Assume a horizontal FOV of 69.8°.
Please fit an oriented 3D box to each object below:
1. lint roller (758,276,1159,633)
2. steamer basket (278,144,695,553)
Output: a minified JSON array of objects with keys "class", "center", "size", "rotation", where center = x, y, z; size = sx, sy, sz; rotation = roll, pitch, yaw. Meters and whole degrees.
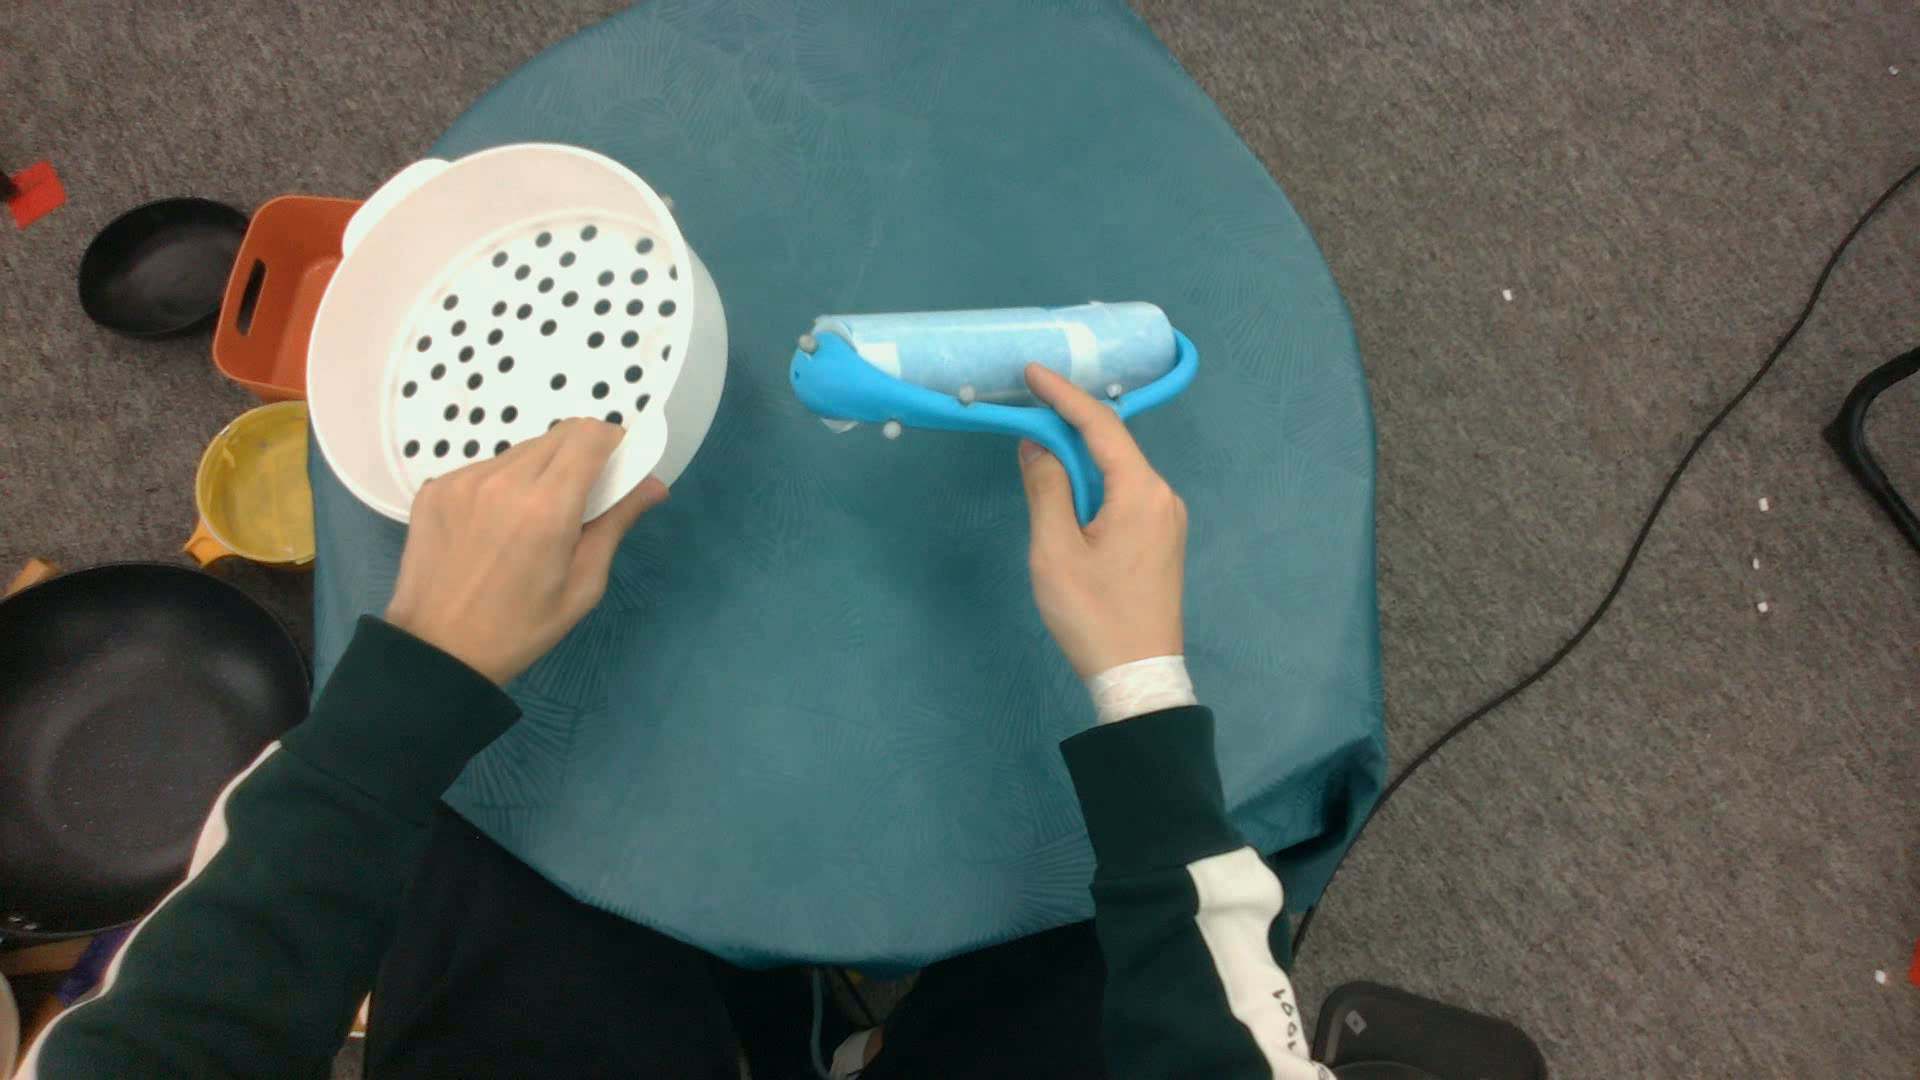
[{"class":"lint roller","center":[0.030,-0.048,0.666],"size":[0.230,0.067,0.180],"rotation":[-15,69,-39]},{"class":"steamer basket","center":[-0.231,-0.093,0.685],"size":[0.202,0.069,0.231],"rotation":[-44,70,-2]}]
